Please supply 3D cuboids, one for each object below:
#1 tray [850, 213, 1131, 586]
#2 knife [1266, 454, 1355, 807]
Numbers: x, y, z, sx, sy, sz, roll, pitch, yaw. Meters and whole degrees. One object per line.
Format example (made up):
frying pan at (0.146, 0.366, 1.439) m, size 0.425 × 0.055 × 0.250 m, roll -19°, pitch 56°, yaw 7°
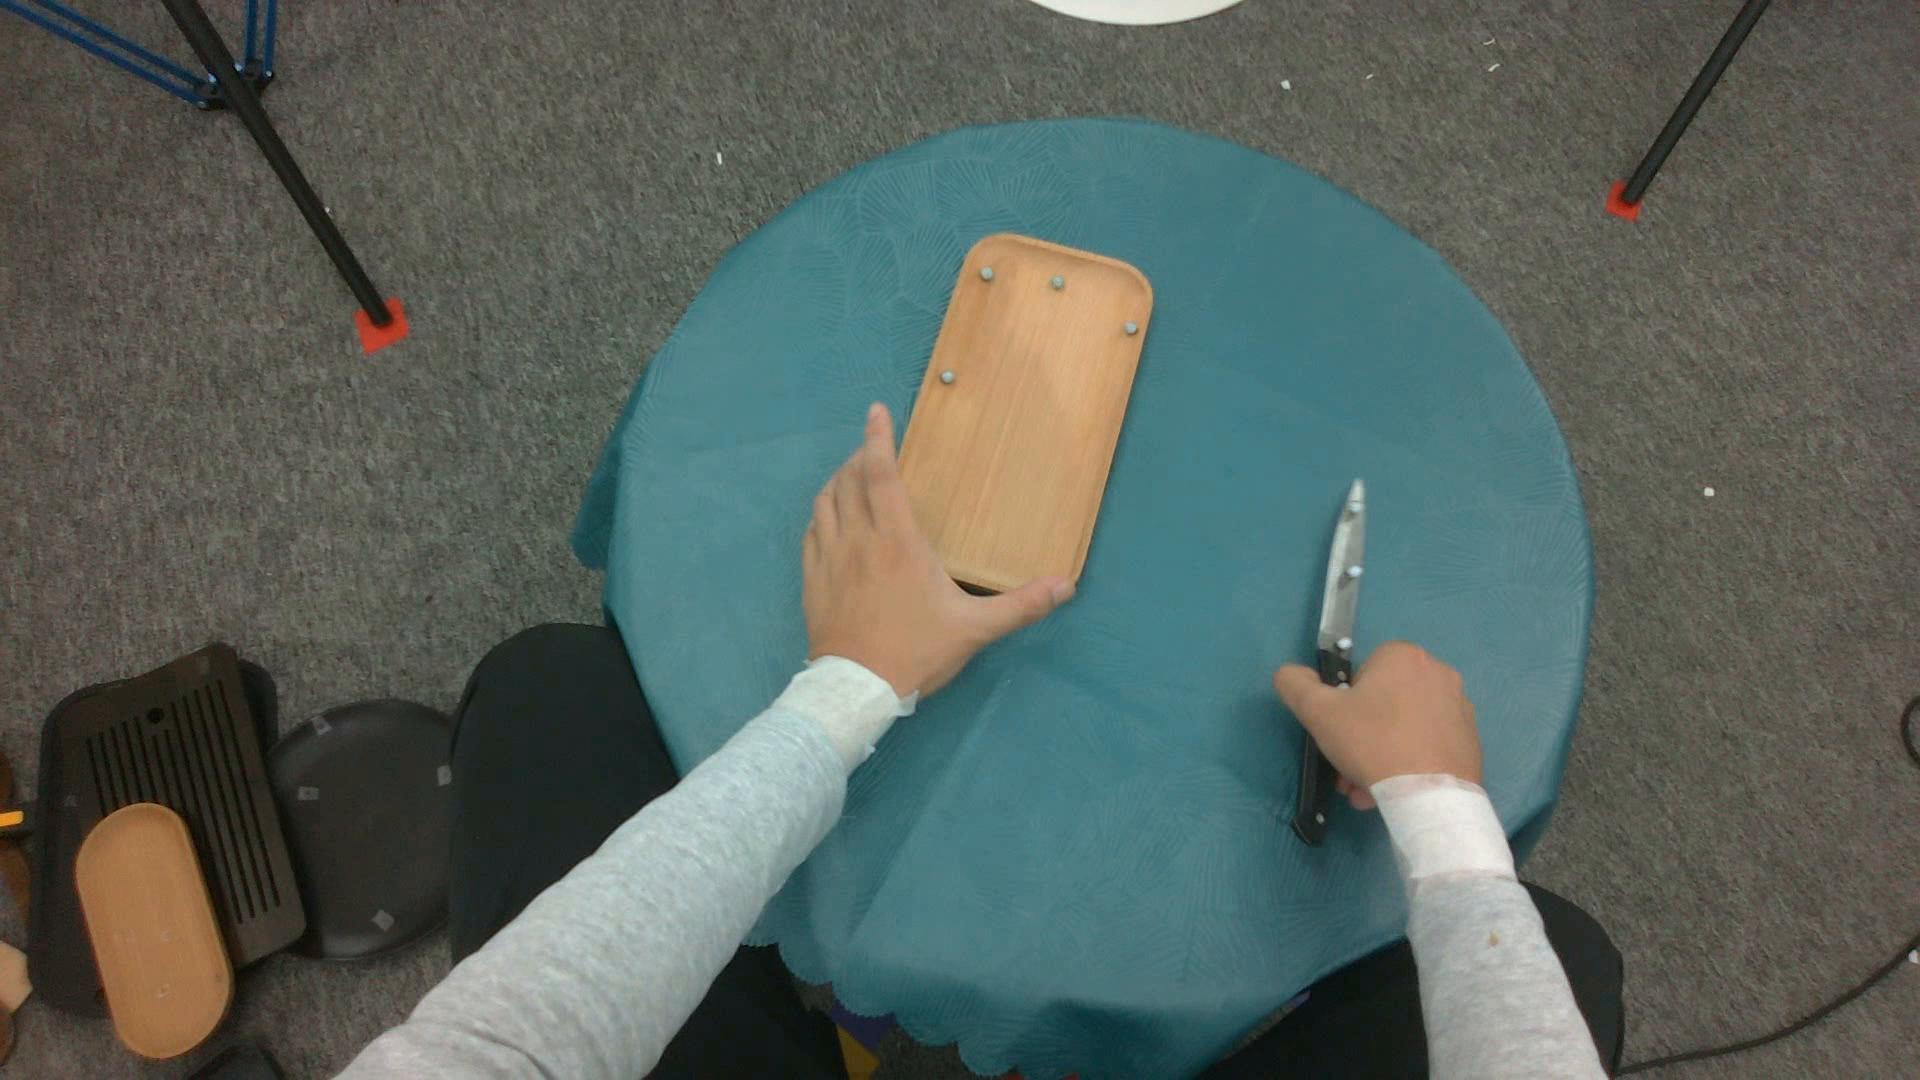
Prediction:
tray at (0.023, -0.093, 0.860) m, size 0.130 × 0.023 × 0.251 m, roll 15°, pitch 67°, yaw 6°
knife at (0.210, 0.047, 0.797) m, size 0.024 × 0.016 × 0.239 m, roll 33°, pitch 59°, yaw -22°
